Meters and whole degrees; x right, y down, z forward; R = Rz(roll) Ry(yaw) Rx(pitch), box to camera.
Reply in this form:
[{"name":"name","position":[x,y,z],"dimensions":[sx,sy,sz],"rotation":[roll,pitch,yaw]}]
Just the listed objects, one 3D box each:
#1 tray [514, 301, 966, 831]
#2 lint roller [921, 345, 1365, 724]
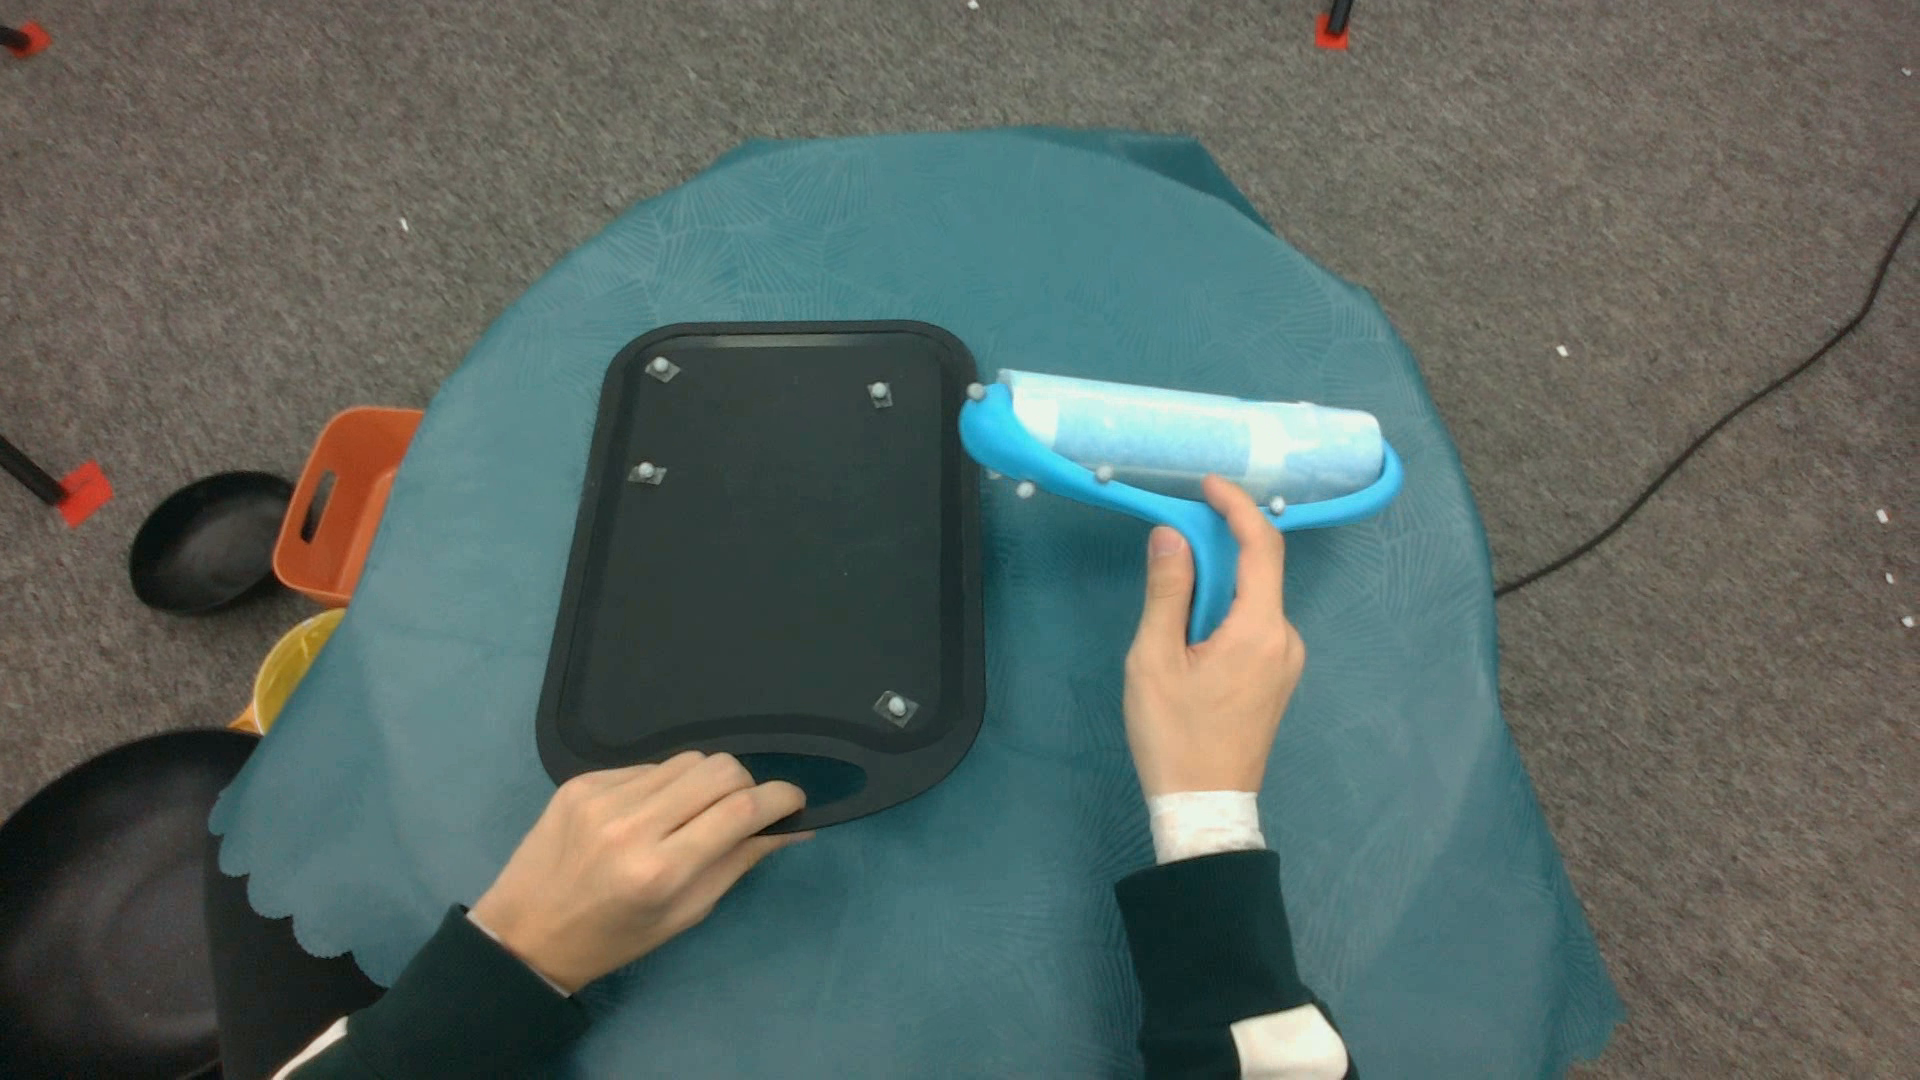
[{"name":"tray","position":[-0.106,-0.005,0.696],"dimensions":[0.211,0.010,0.327],"rotation":[-3,53,0]},{"name":"lint roller","position":[0.099,-0.007,0.657],"dimensions":[0.229,0.067,0.181],"rotation":[0,68,-20]}]
